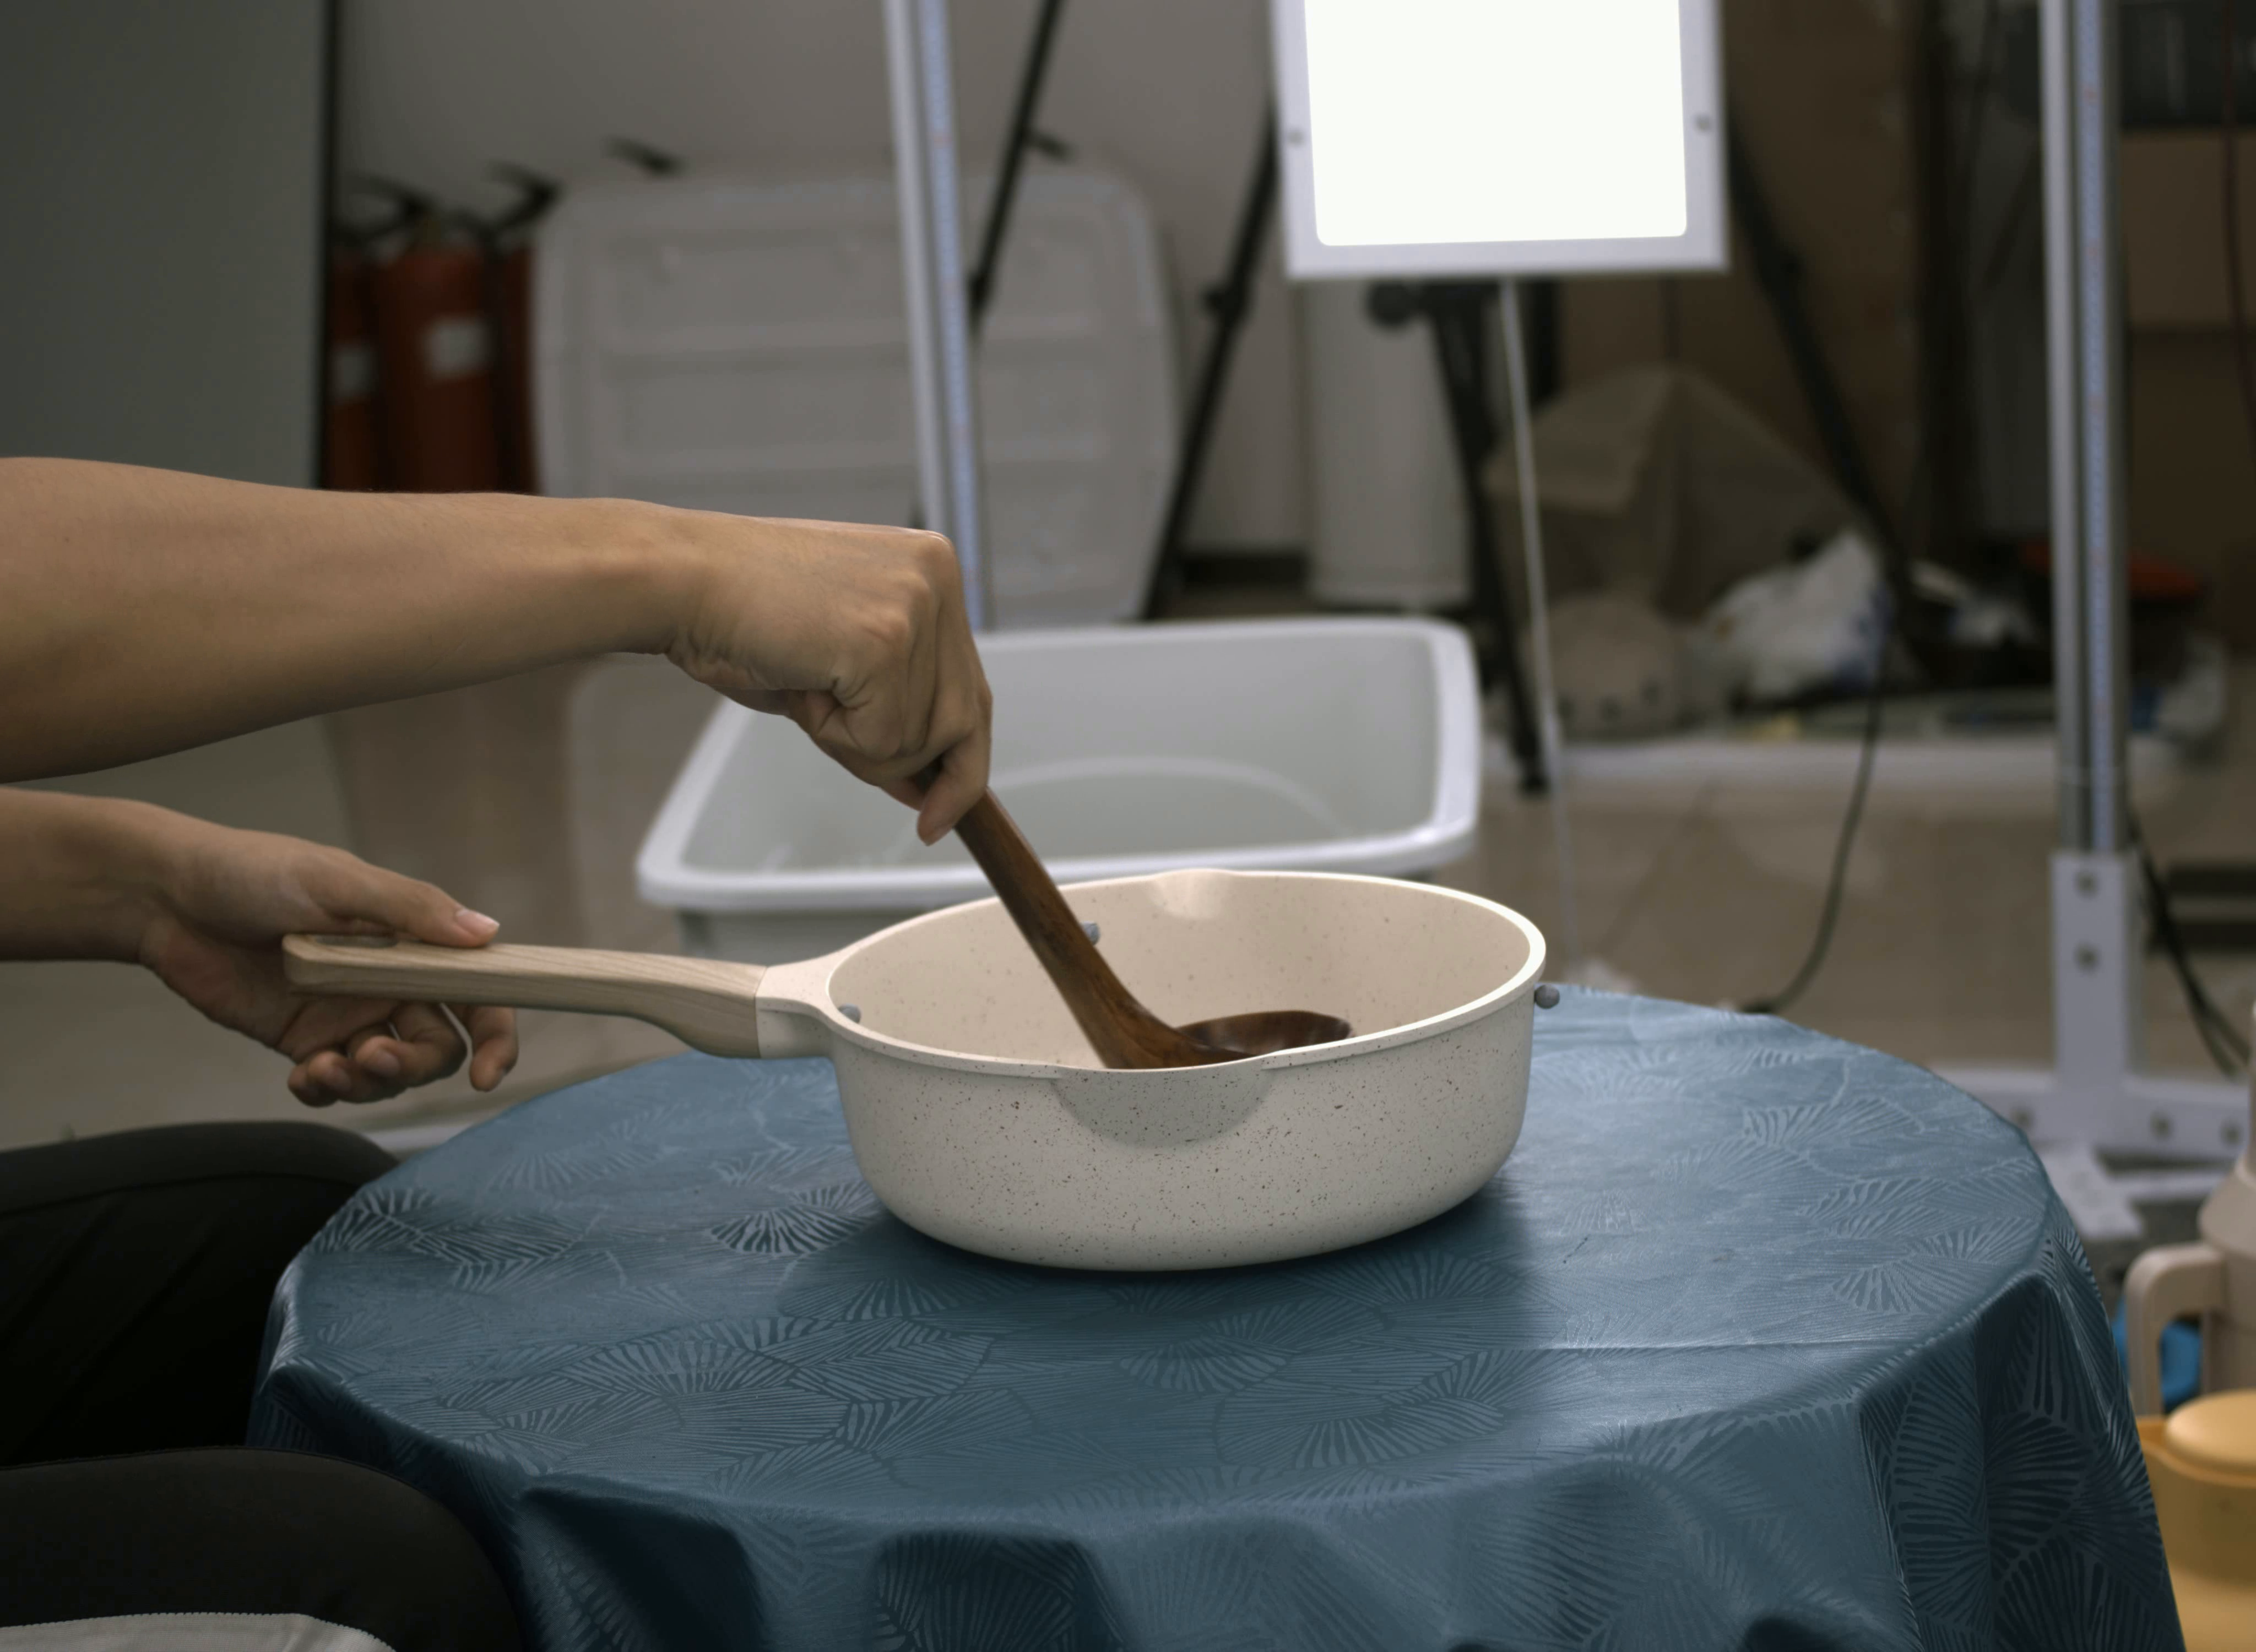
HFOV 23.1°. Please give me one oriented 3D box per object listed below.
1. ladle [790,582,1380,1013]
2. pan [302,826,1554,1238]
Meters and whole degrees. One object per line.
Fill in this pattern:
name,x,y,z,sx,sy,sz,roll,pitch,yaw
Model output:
ladle,-0.009,-0.005,1.784,0.084,0.271,0.075,-3,45,44
pan,-0.067,0.071,1.914,0.436,0.102,0.262,-4,15,6
